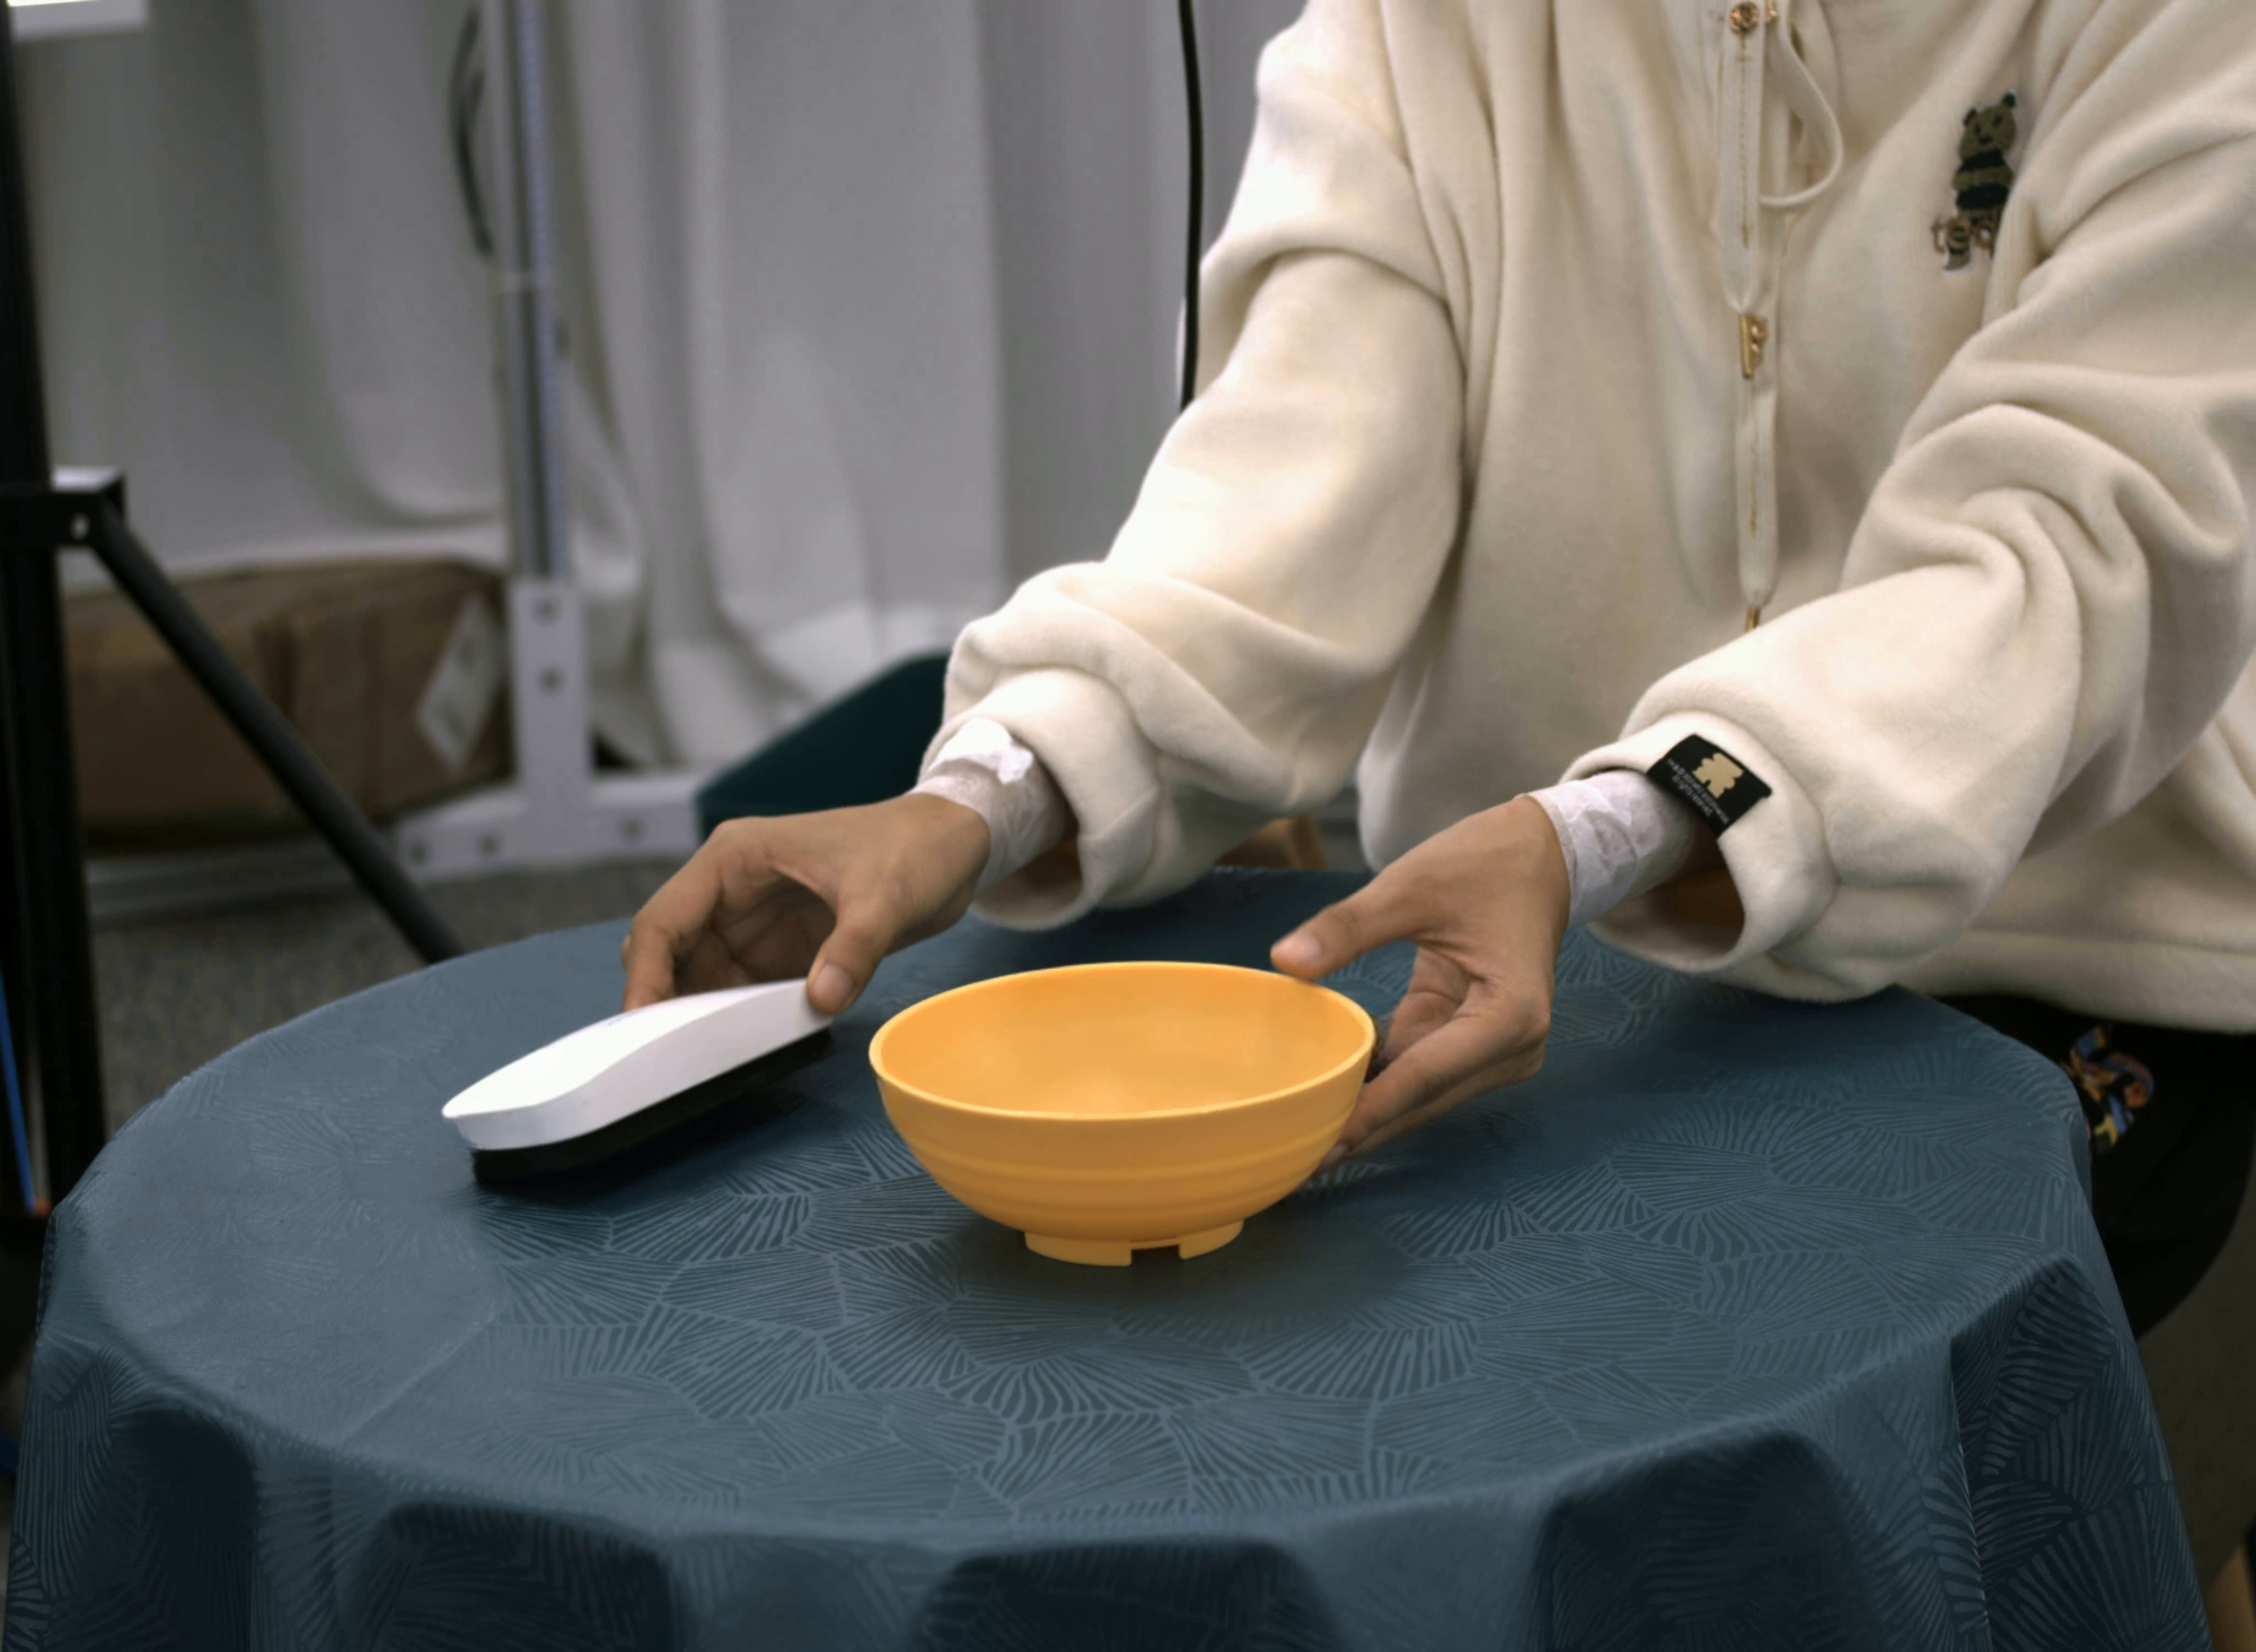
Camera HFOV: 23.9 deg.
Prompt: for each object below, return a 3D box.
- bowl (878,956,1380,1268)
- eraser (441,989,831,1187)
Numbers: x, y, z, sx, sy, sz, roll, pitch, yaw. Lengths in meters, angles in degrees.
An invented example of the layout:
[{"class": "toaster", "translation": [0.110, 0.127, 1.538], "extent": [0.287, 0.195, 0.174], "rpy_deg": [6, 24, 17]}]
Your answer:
[{"class": "bowl", "translation": [0.002, 0.088, 1.522], "extent": [0.144, 0.060, 0.146], "rpy_deg": [-5, 17, 0]}, {"class": "eraser", "translation": [-0.146, 0.075, 1.618], "extent": [0.064, 0.034, 0.128], "rpy_deg": [-6, 12, 40]}]
